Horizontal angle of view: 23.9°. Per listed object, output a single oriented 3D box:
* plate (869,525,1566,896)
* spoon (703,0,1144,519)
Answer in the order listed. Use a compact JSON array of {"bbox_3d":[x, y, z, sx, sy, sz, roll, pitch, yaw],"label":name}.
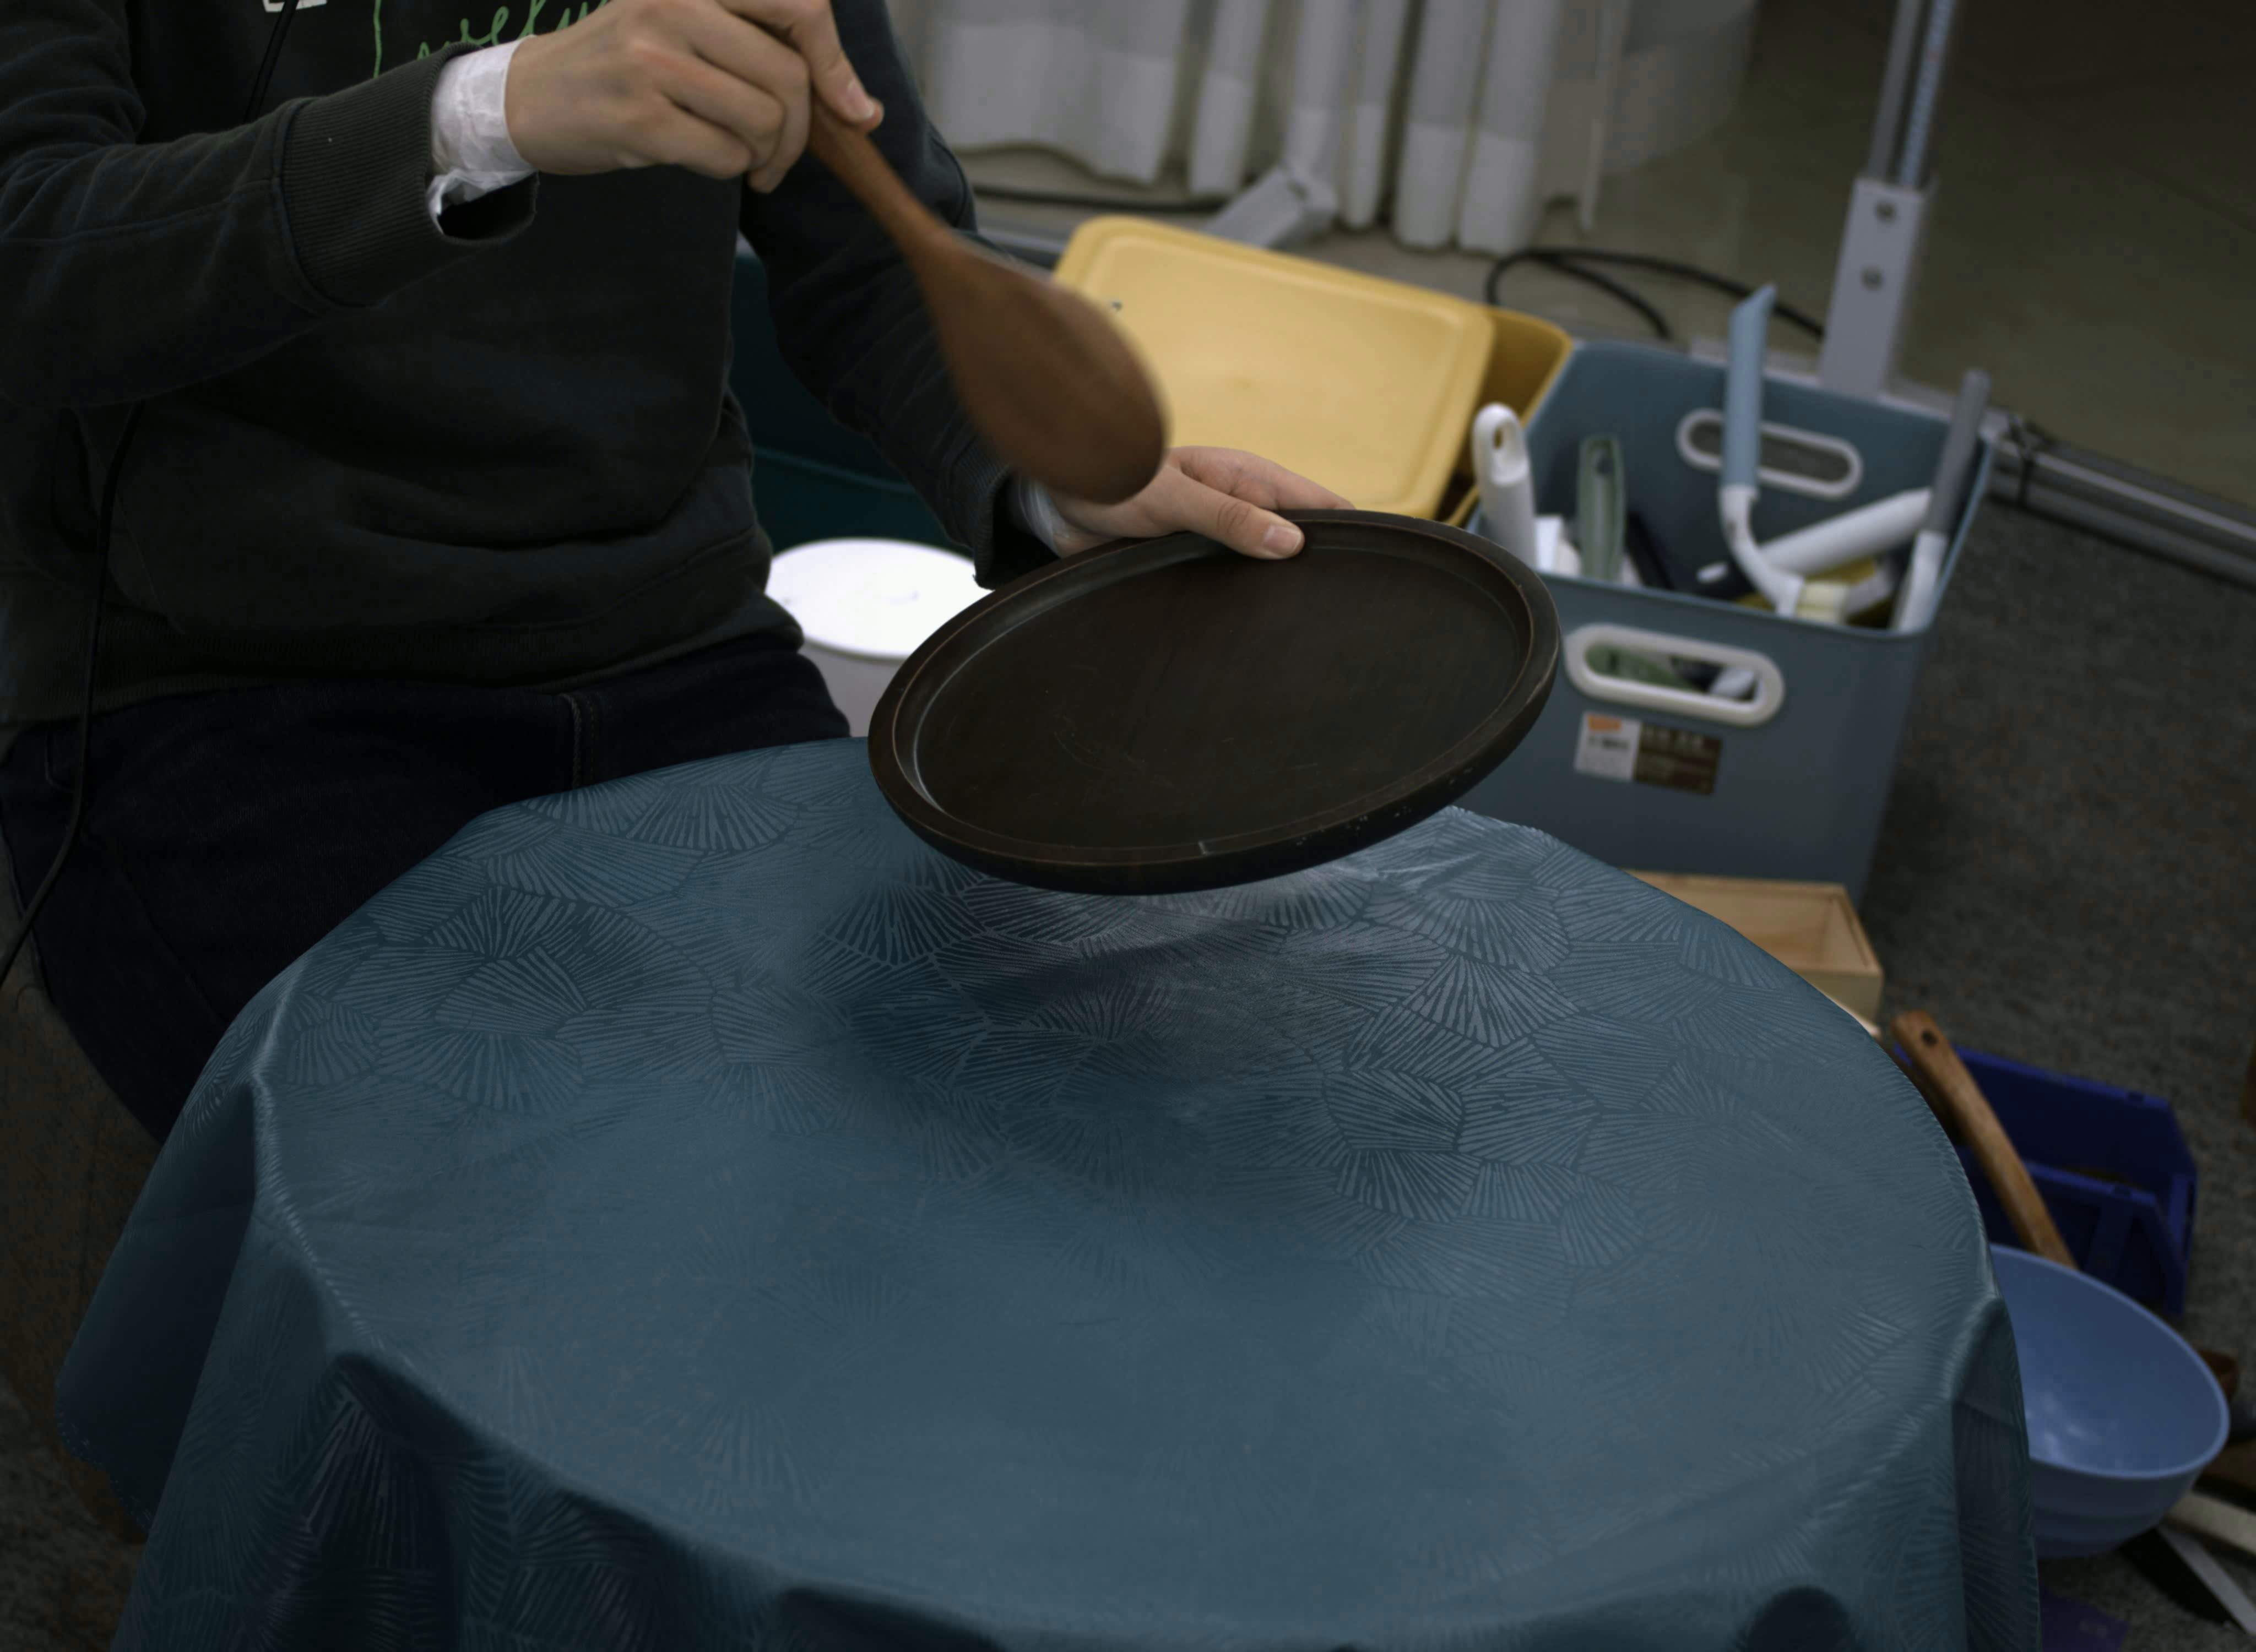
[{"bbox_3d":[0.032,-0.044,1.912,0.254,0.029,0.256,-9,30,5],"label":"plate"},{"bbox_3d":[-0.071,-0.191,1.769,0.216,0.075,0.017,53,46,1],"label":"spoon"}]
